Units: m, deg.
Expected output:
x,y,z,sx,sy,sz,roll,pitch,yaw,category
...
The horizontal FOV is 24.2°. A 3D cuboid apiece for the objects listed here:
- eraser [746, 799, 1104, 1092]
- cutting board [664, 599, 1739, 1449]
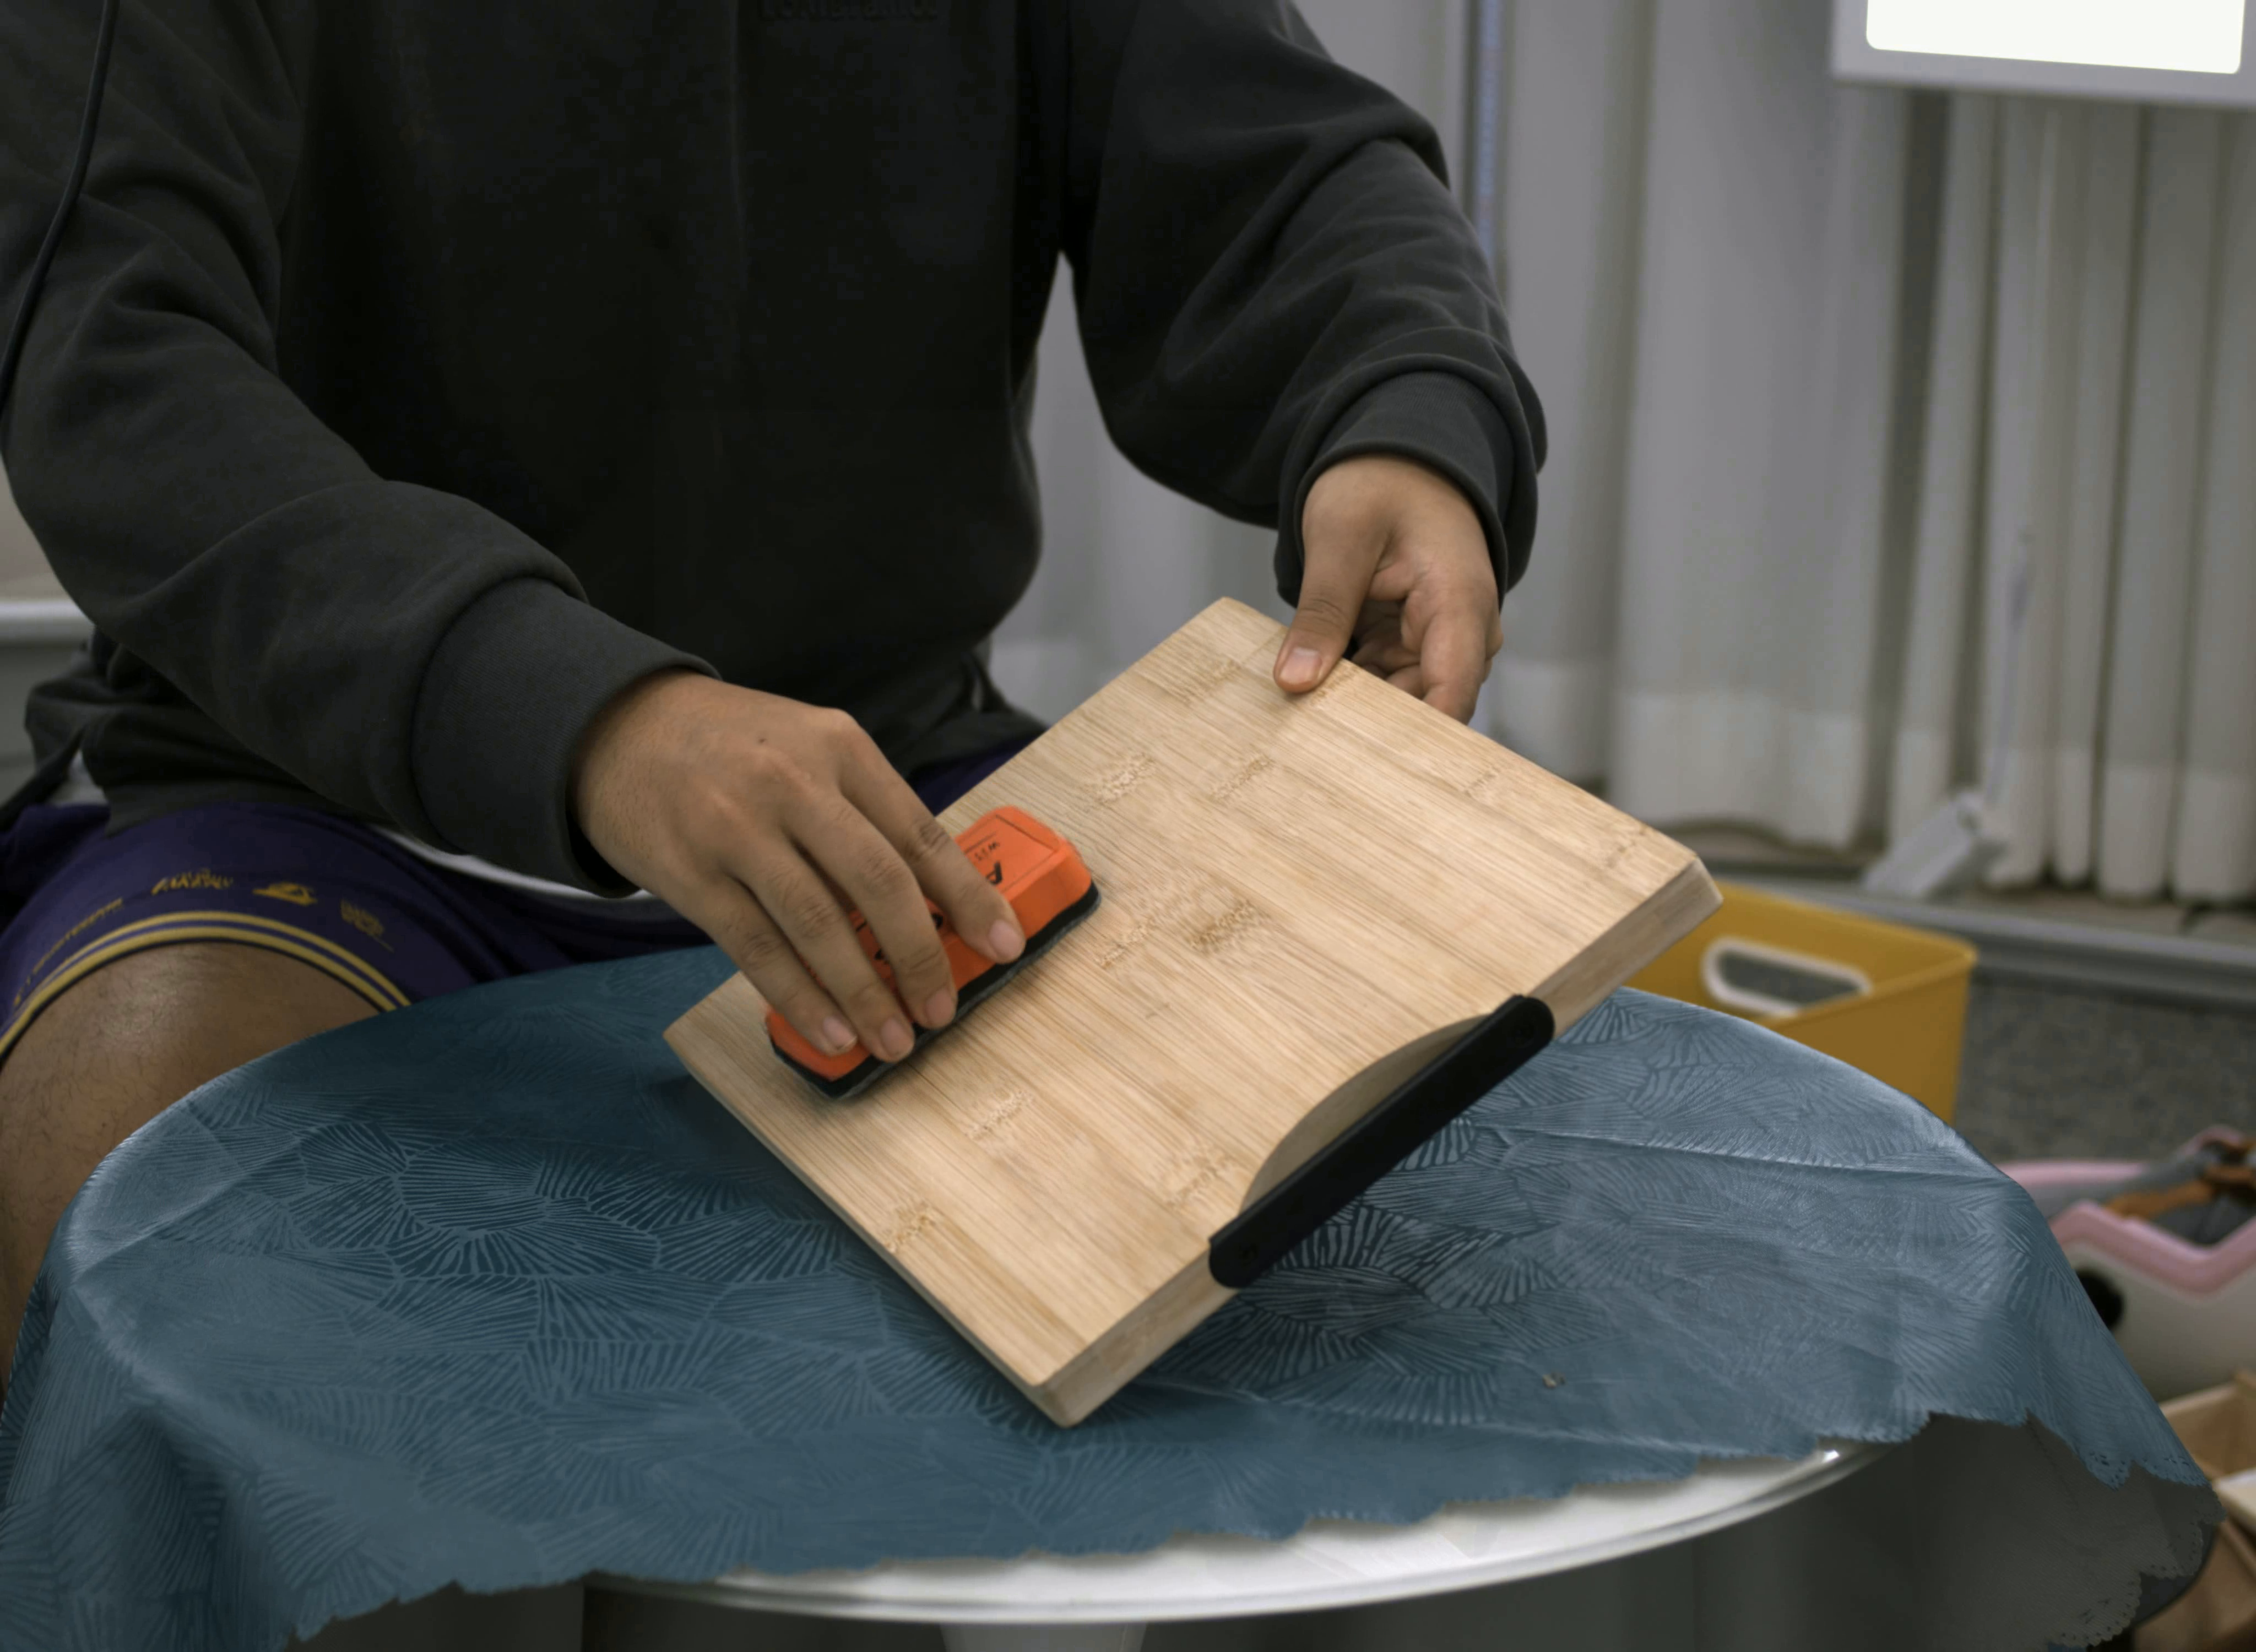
x,y,z,sx,sy,sz,roll,pitch,yaw,category
-0.063,0.036,1.638,0.108,0.023,0.058,-37,30,-13,eraser
0.010,0.047,1.591,0.250,0.024,0.344,-38,26,-10,cutting board
